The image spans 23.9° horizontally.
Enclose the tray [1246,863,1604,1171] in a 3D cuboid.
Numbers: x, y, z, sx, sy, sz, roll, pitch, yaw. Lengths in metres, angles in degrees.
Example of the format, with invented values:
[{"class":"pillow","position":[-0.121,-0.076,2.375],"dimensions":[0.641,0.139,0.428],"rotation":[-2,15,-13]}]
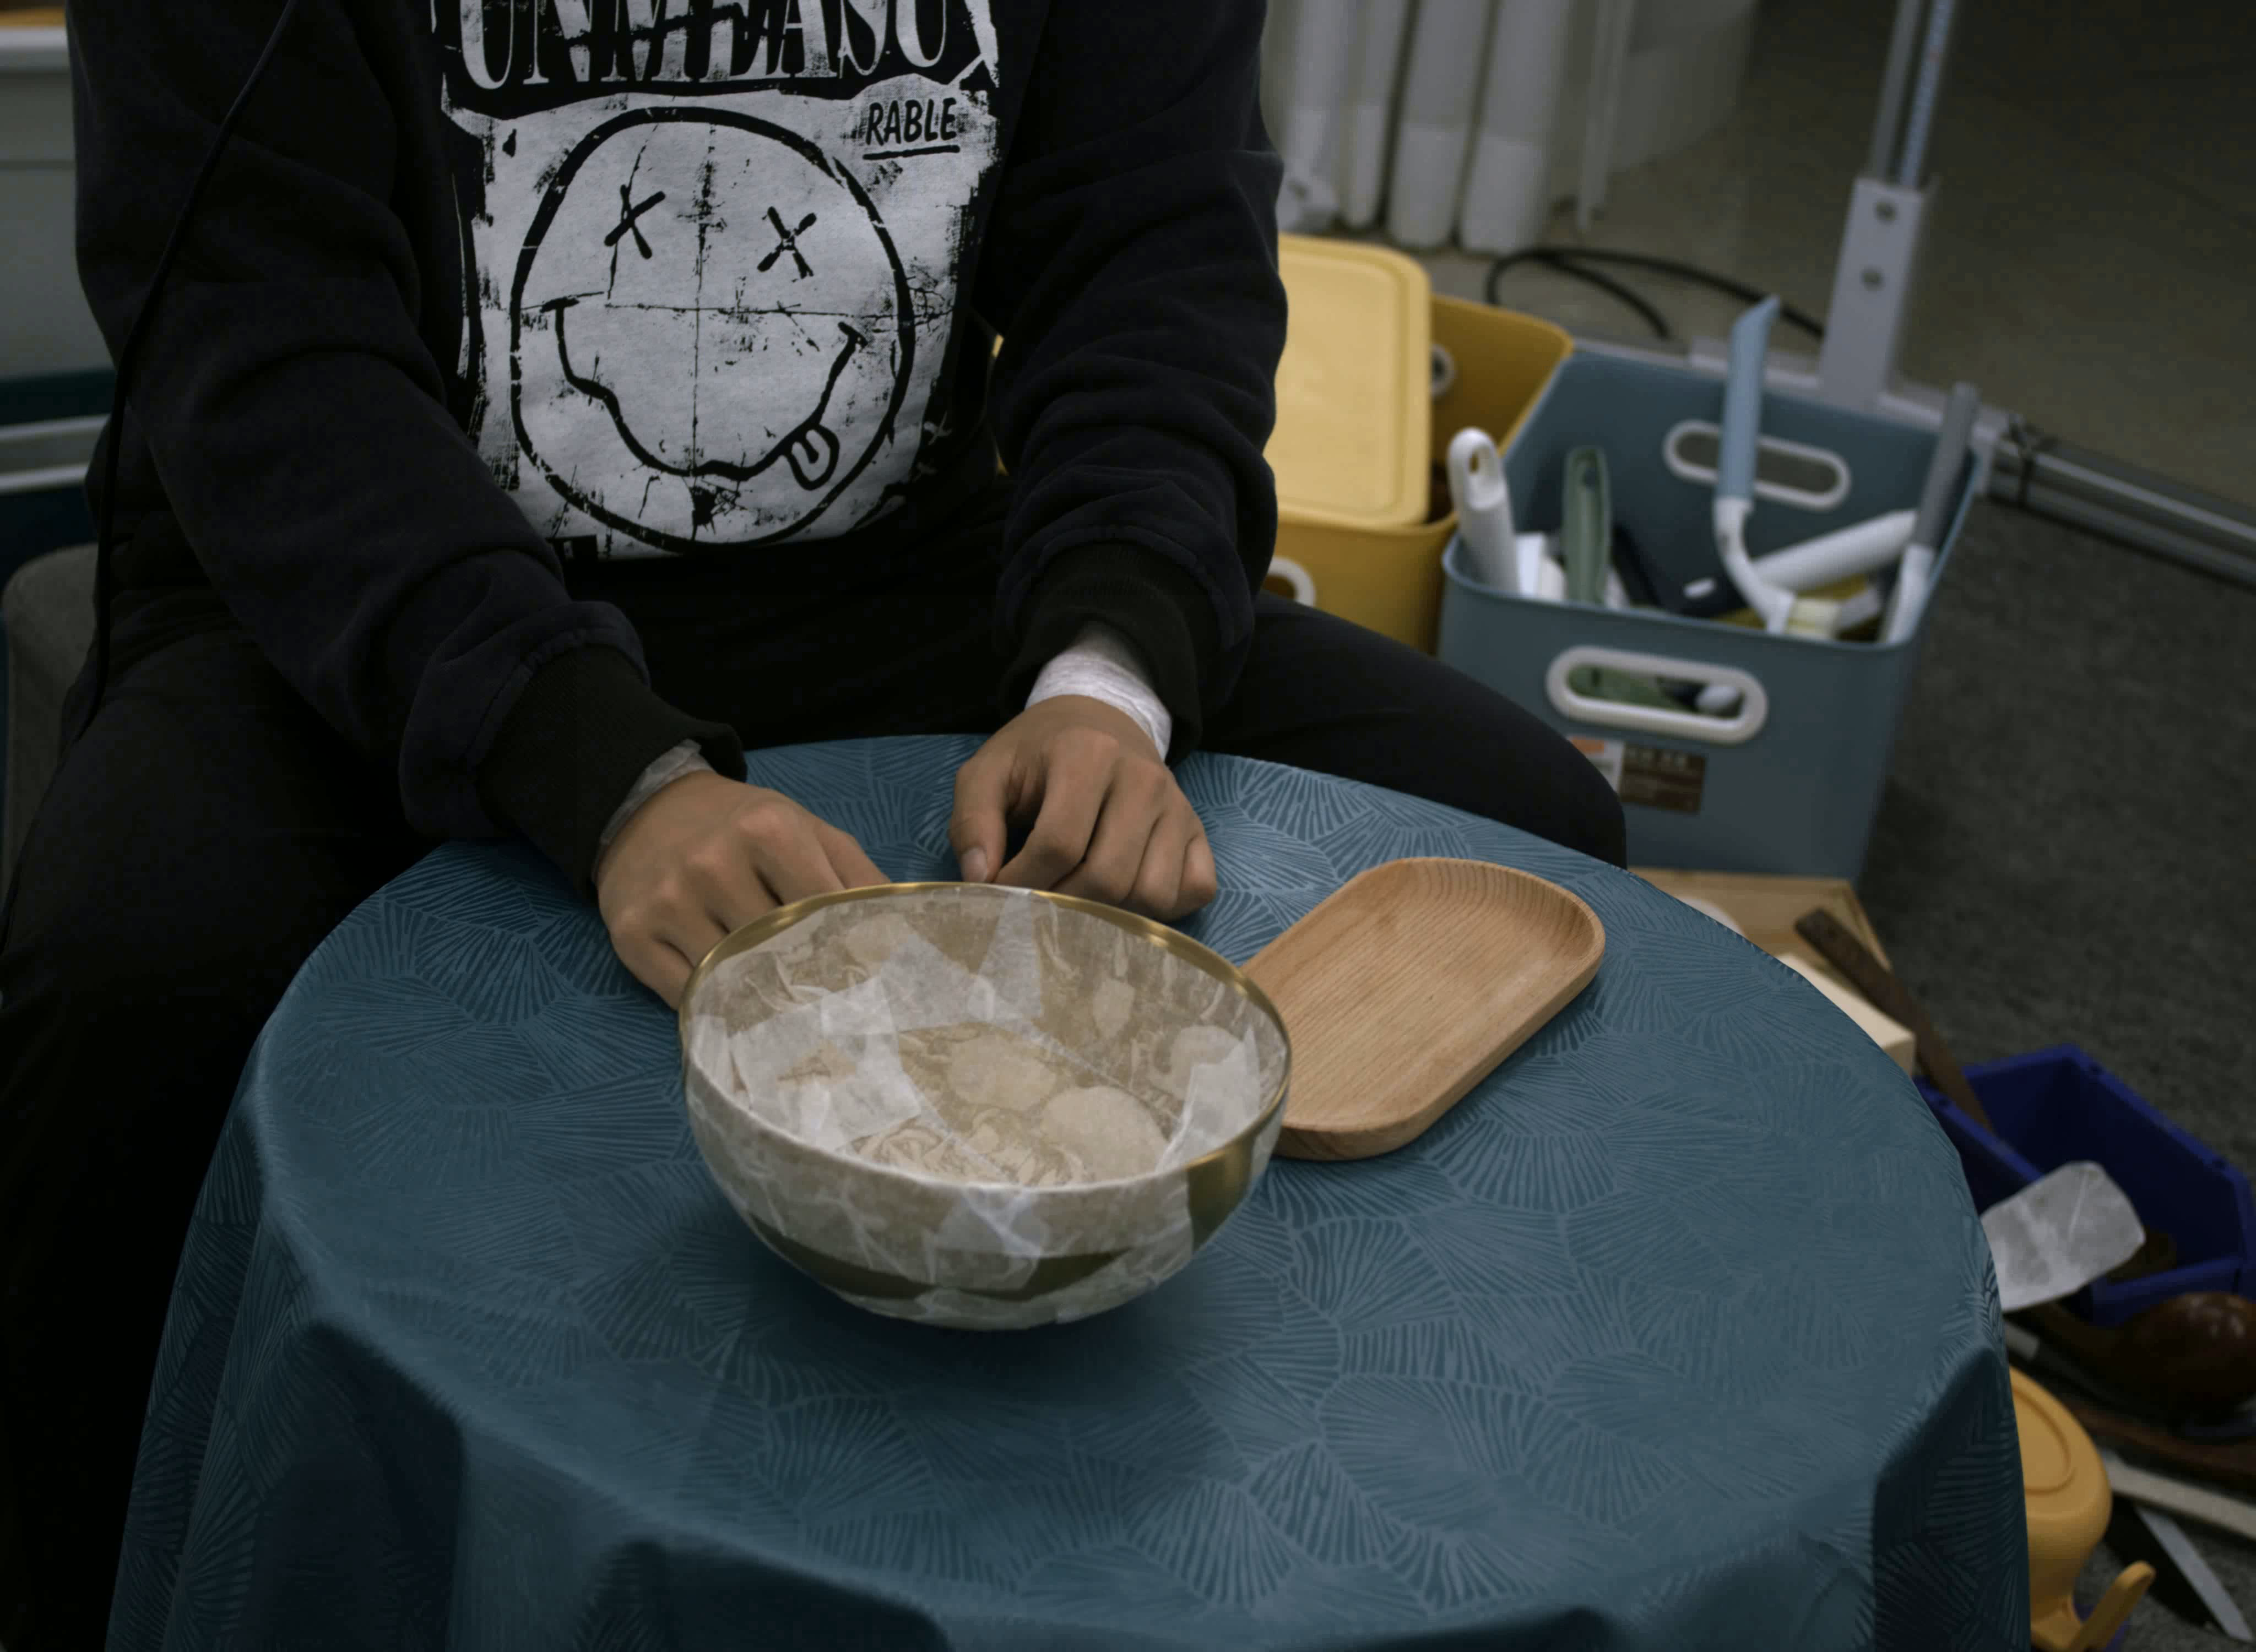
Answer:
[{"class":"tray","position":[0.094,0.067,1.917],"dimensions":[0.102,0.020,0.231],"rotation":[16,30,24]}]

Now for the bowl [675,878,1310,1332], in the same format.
[{"class":"bowl","position":[-0.047,0.102,1.730],"dimensions":[0.214,0.094,0.216],"rotation":[4,26,-2]}]
